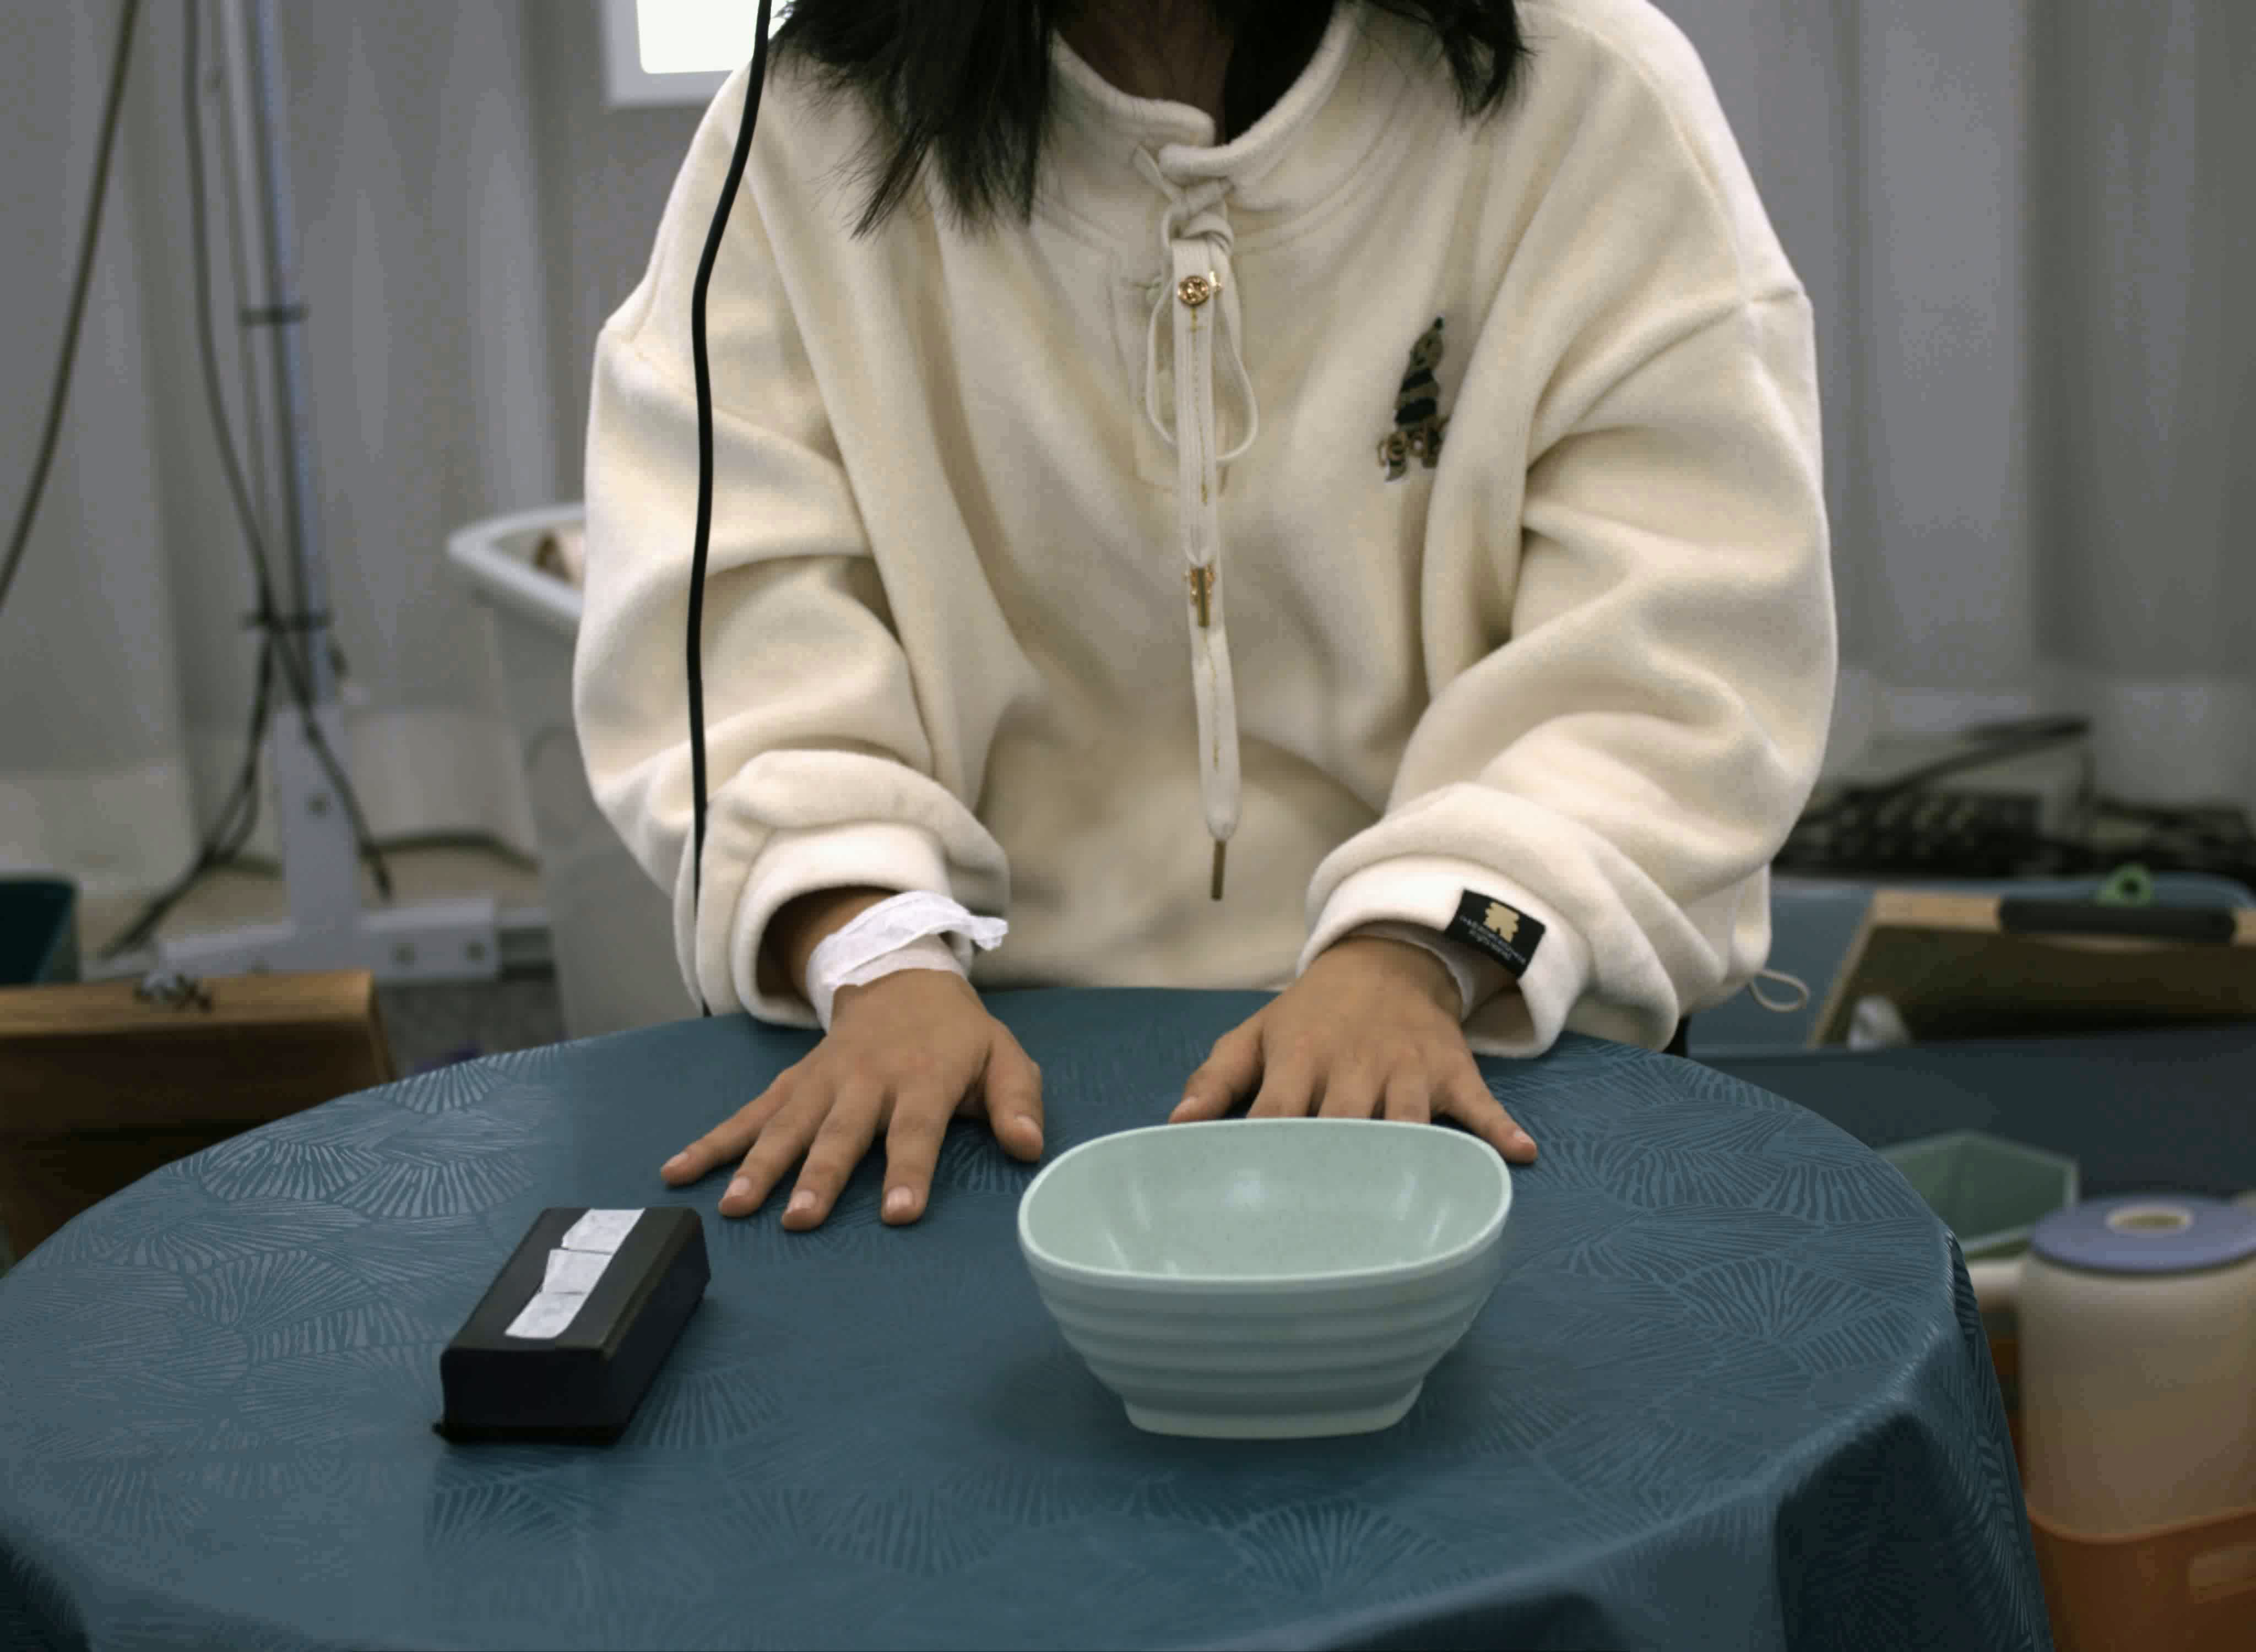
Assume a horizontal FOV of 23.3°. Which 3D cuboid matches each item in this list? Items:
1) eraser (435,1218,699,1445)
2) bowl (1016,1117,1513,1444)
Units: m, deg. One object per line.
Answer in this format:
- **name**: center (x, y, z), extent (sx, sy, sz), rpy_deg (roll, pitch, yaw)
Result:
- **eraser**: center (-0.160, 0.145, 1.579), extent (0.053, 0.030, 0.126), rpy_deg (1, 13, 6)
- **bowl**: center (0.038, 0.131, 1.536), extent (0.151, 0.058, 0.152), rpy_deg (0, 15, 0)
